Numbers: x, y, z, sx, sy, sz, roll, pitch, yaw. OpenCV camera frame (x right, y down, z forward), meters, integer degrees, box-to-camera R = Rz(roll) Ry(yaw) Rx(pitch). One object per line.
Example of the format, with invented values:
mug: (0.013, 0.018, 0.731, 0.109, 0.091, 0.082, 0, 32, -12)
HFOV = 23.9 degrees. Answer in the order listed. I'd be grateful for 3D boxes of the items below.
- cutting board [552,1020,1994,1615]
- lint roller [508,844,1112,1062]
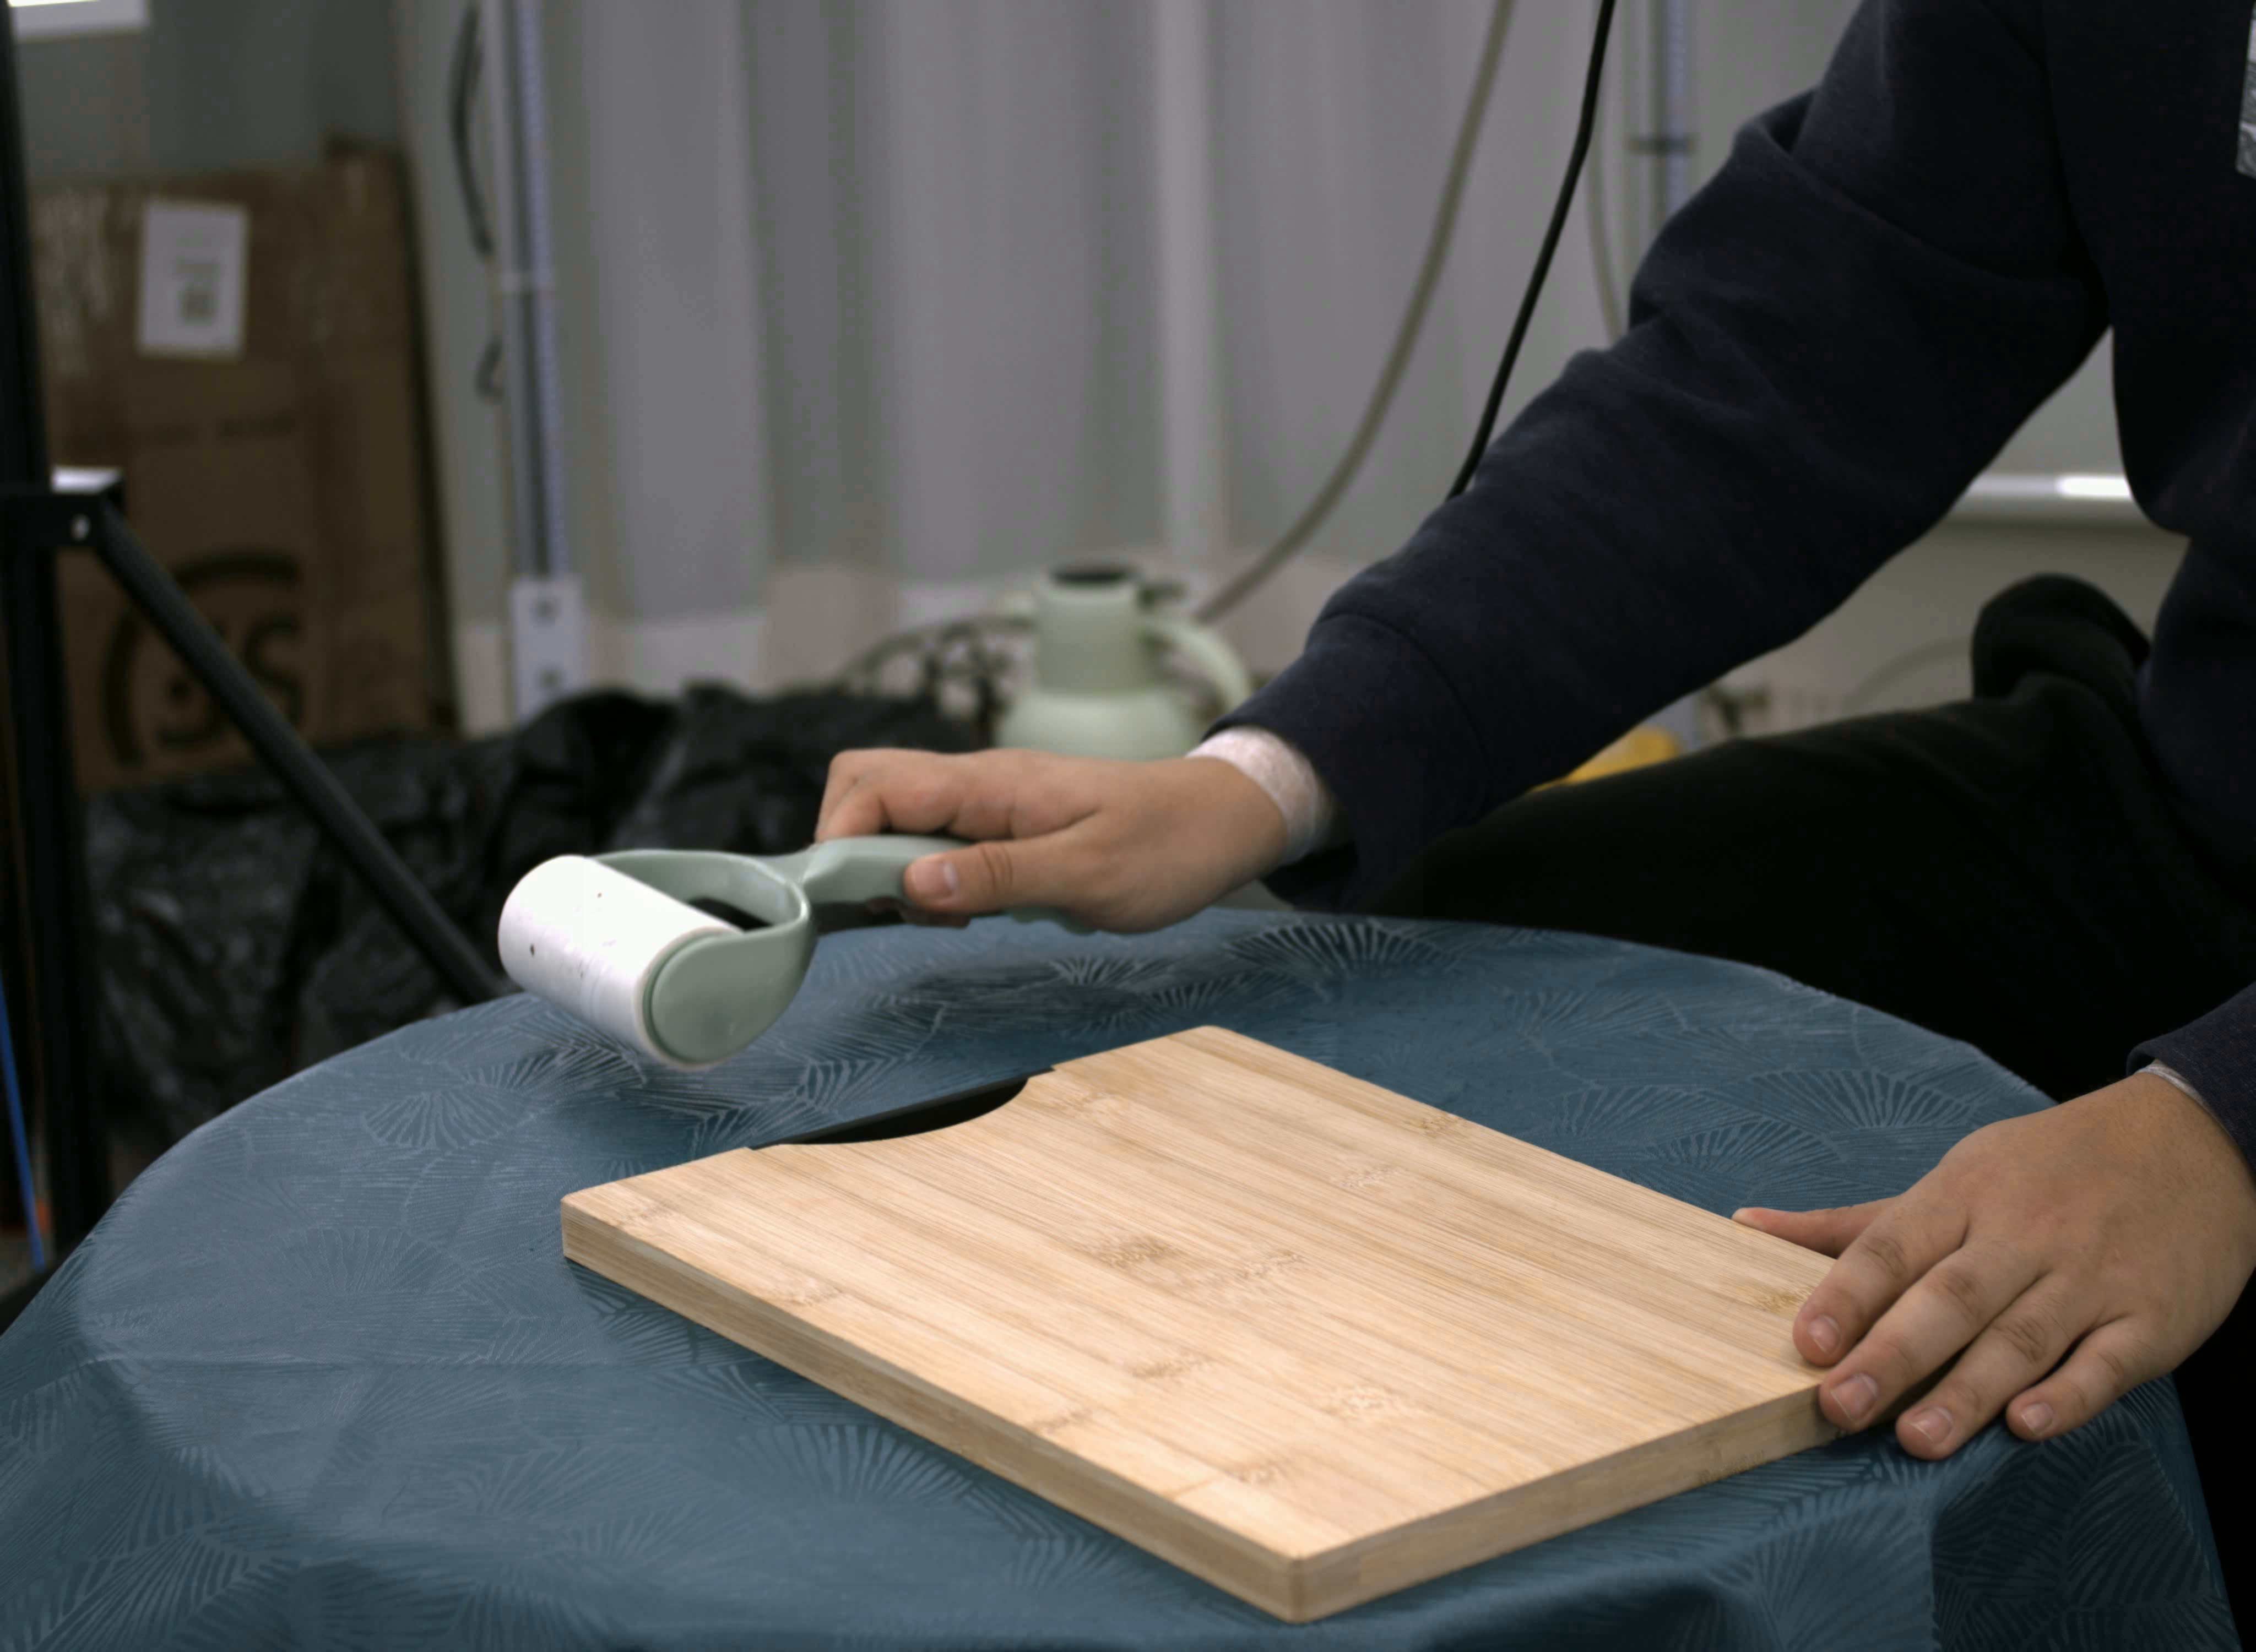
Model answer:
cutting board: (0.032, 0.126, 1.460, 0.245, 0.023, 0.357, -13, 19, -35)
lint roller: (-0.088, 0.031, 1.697, 0.193, 0.048, 0.119, -11, 14, -29)
